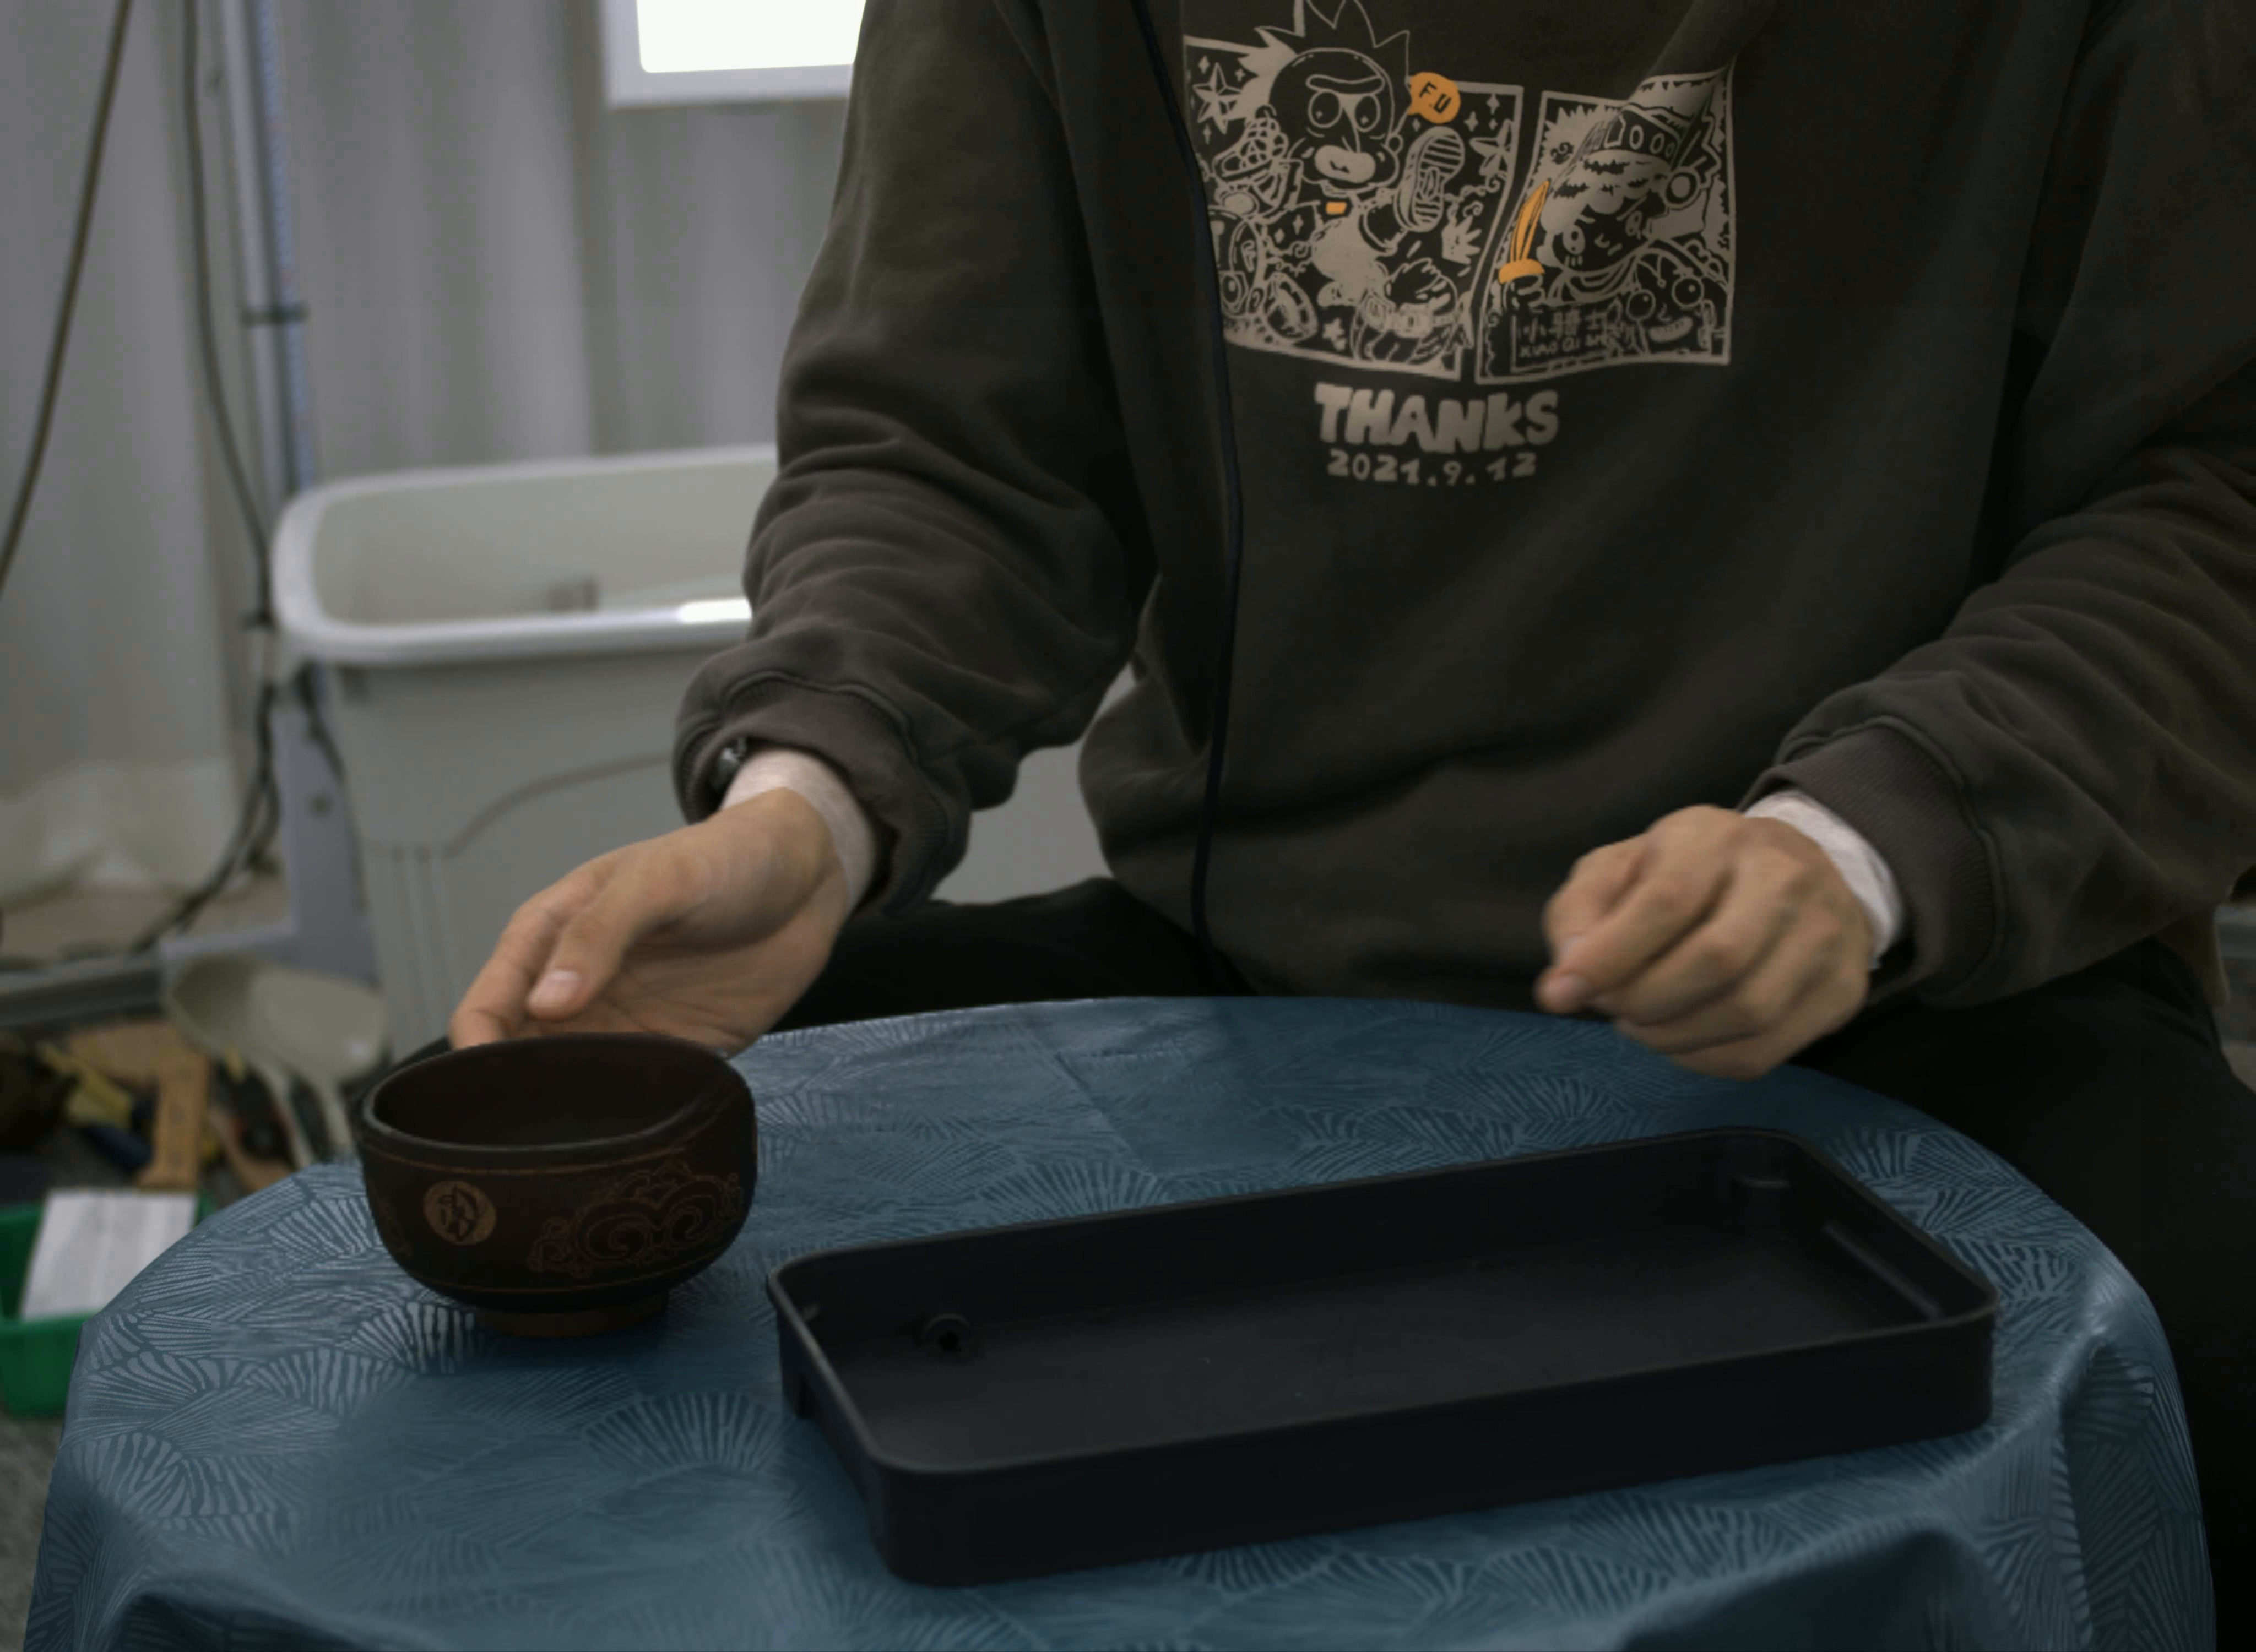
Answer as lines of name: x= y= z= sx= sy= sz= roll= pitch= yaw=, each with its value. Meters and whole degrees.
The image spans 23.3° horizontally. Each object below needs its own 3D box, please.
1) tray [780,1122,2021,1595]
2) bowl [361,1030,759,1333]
tray: x=0.074 y=0.145 z=1.530 sx=0.316 sy=0.037 sz=0.186 roll=-8 pitch=15 yaw=-15
bowl: x=-0.168 y=0.110 z=1.636 sx=0.117 sy=0.069 sz=0.119 roll=-3 pitch=13 yaw=0
